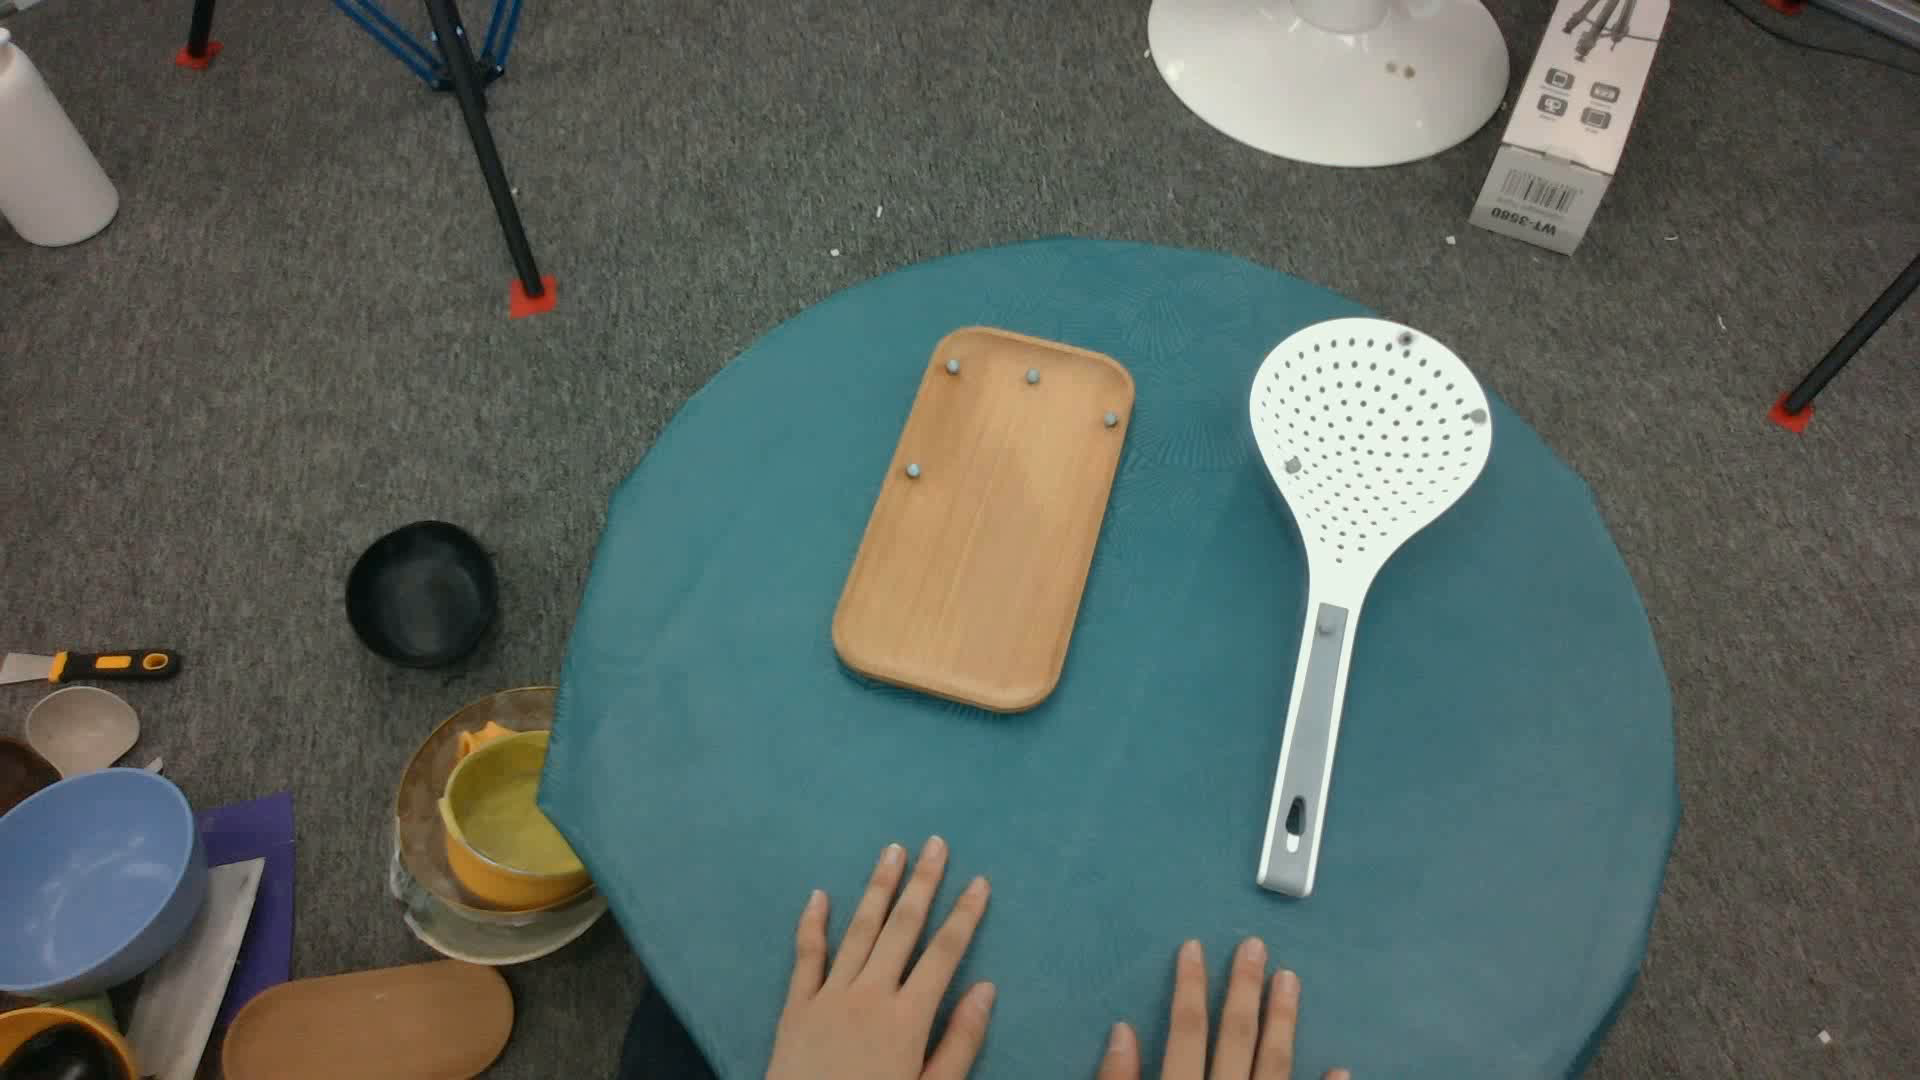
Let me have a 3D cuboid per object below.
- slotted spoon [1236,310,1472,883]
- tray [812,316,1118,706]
[{"bbox_3d":[0.199,0.018,0.758,0.136,0.045,0.351,14,59,8],"label":"slotted spoon"},{"bbox_3d":[0.008,-0.024,0.791,0.130,0.023,0.252,14,59,8],"label":"tray"}]
